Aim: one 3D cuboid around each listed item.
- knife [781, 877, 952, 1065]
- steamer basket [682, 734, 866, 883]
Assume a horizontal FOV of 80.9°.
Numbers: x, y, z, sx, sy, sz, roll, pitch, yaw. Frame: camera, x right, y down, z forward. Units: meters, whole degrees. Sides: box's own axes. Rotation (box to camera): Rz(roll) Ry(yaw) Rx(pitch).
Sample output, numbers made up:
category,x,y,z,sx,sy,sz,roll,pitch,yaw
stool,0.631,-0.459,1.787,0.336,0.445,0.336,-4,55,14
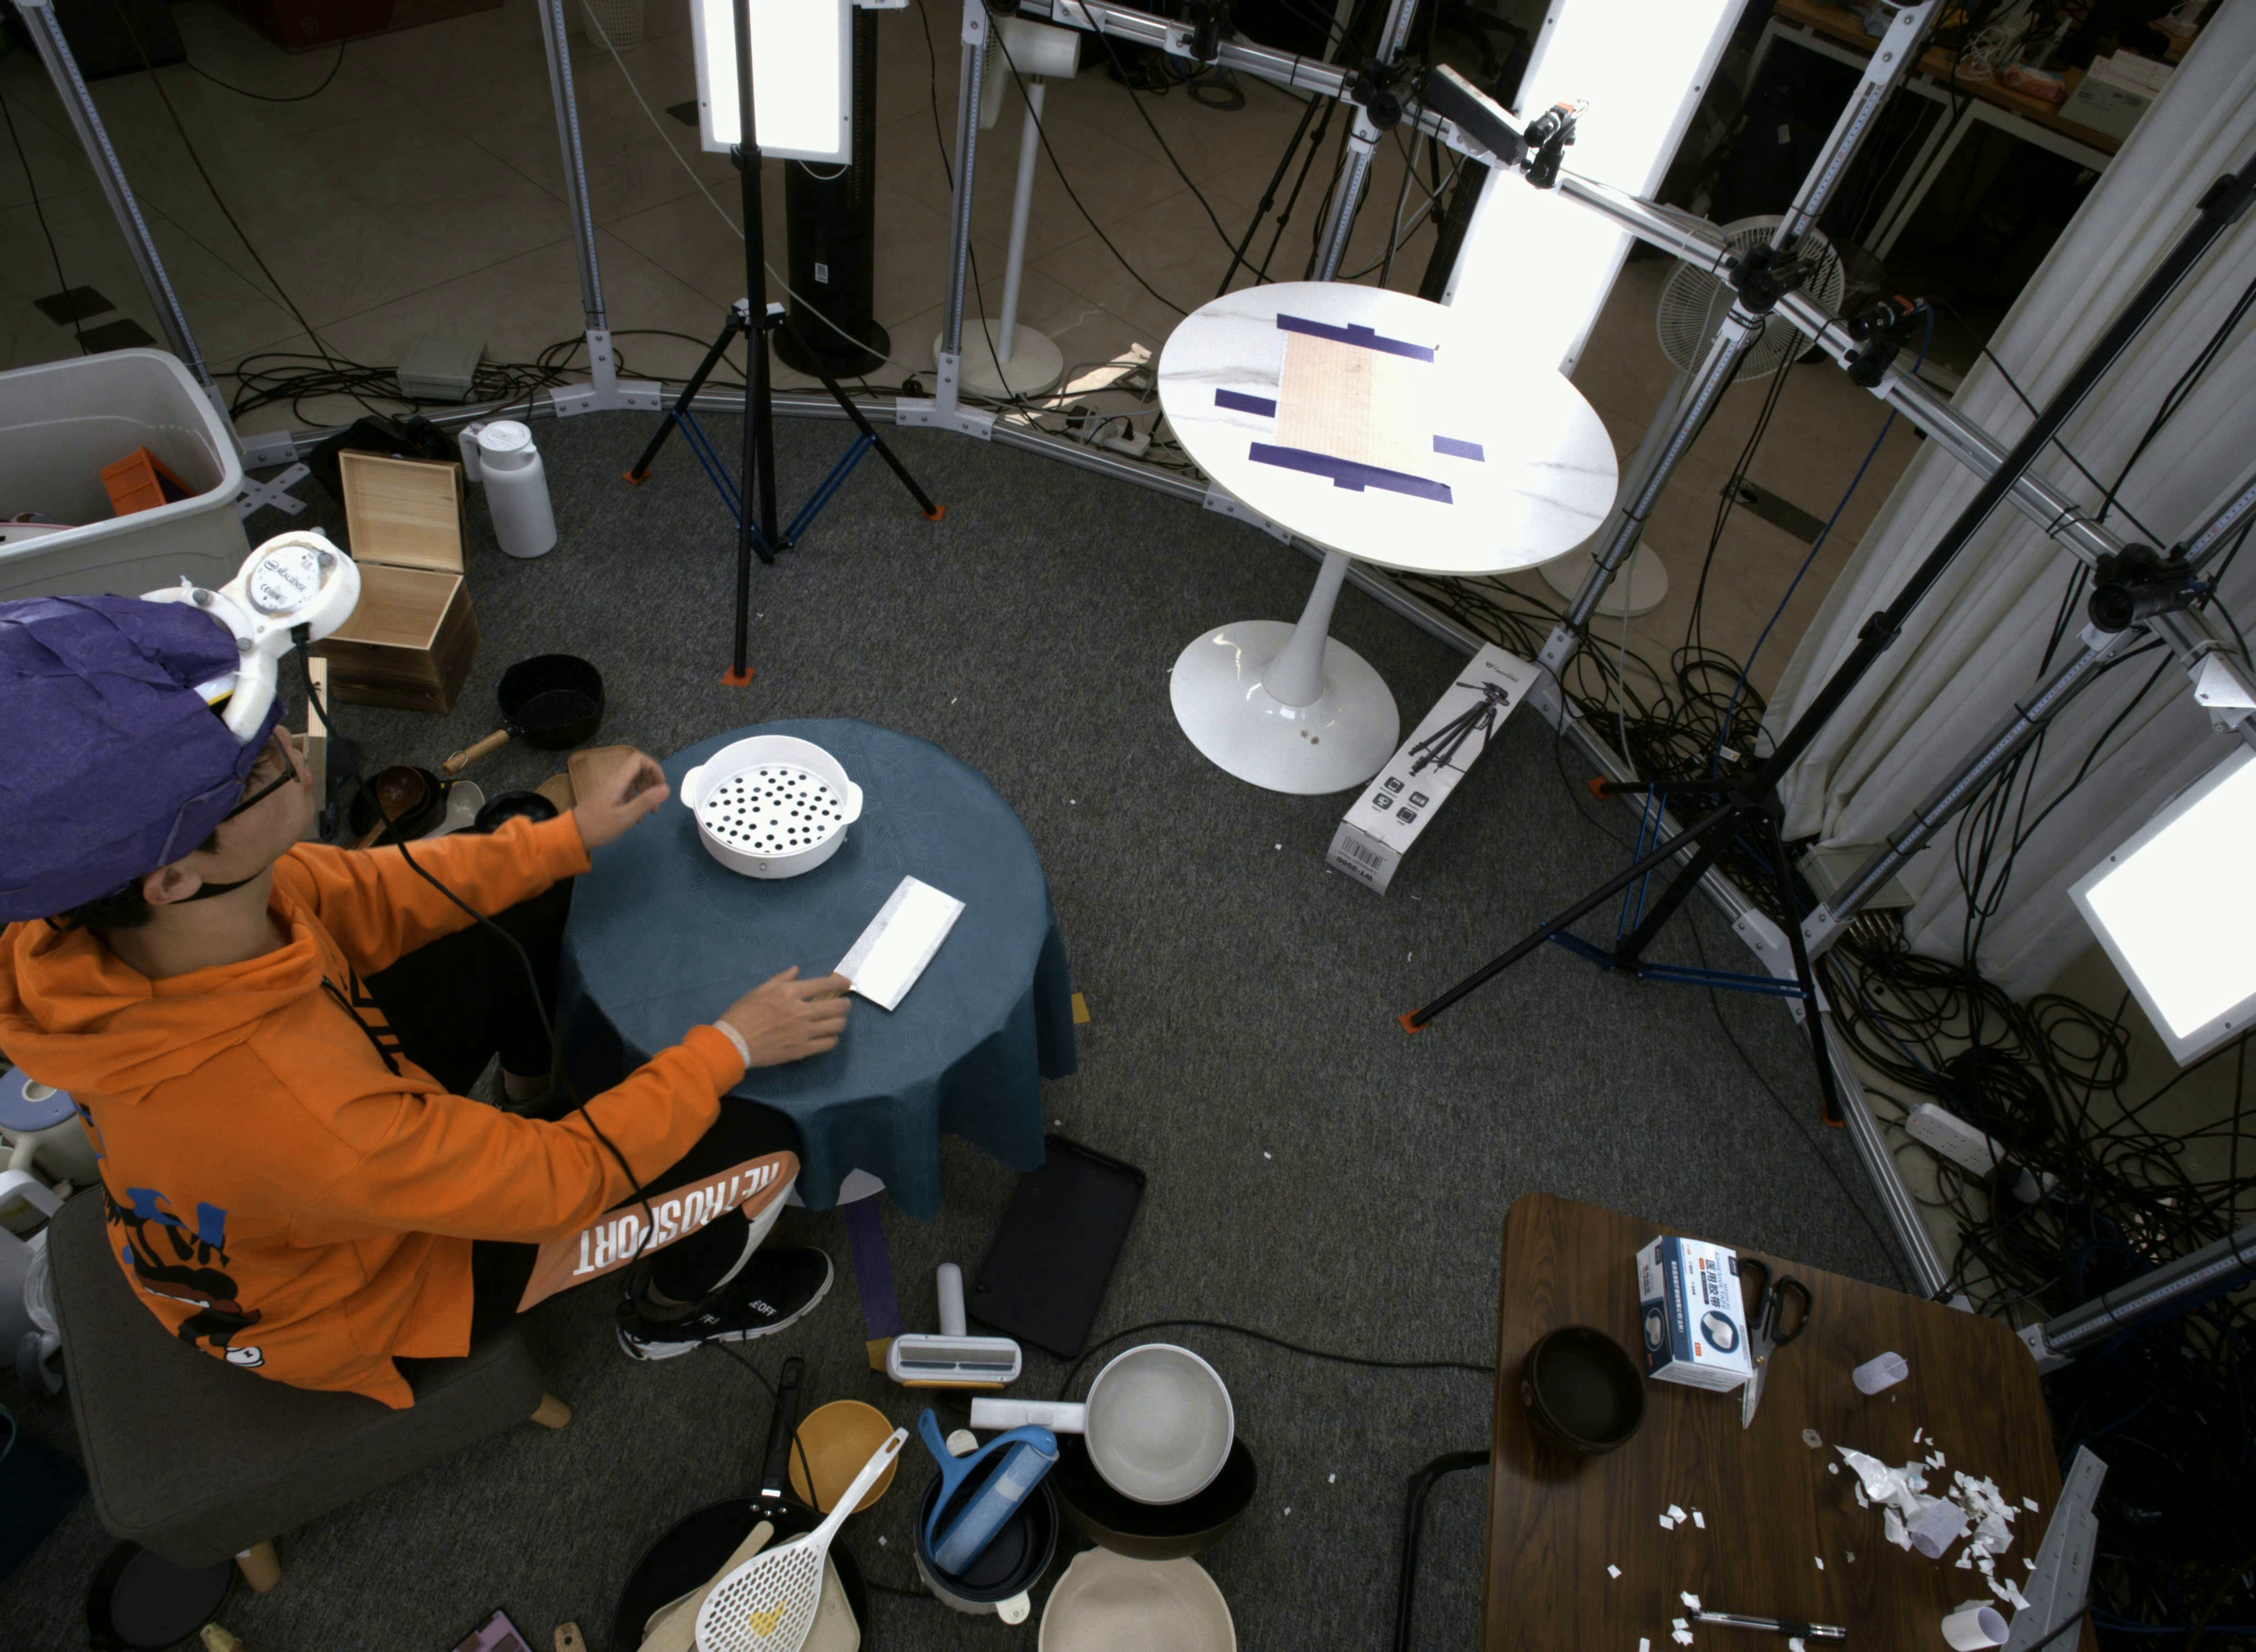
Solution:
category,x,y,z,sx,sy,sz,roll,pitch,yaw
knife,-0.311,0.179,1.600,0.092,0.021,0.304,27,49,4
steamer basket,-0.458,-0.024,1.678,0.231,0.070,0.198,7,53,-12
